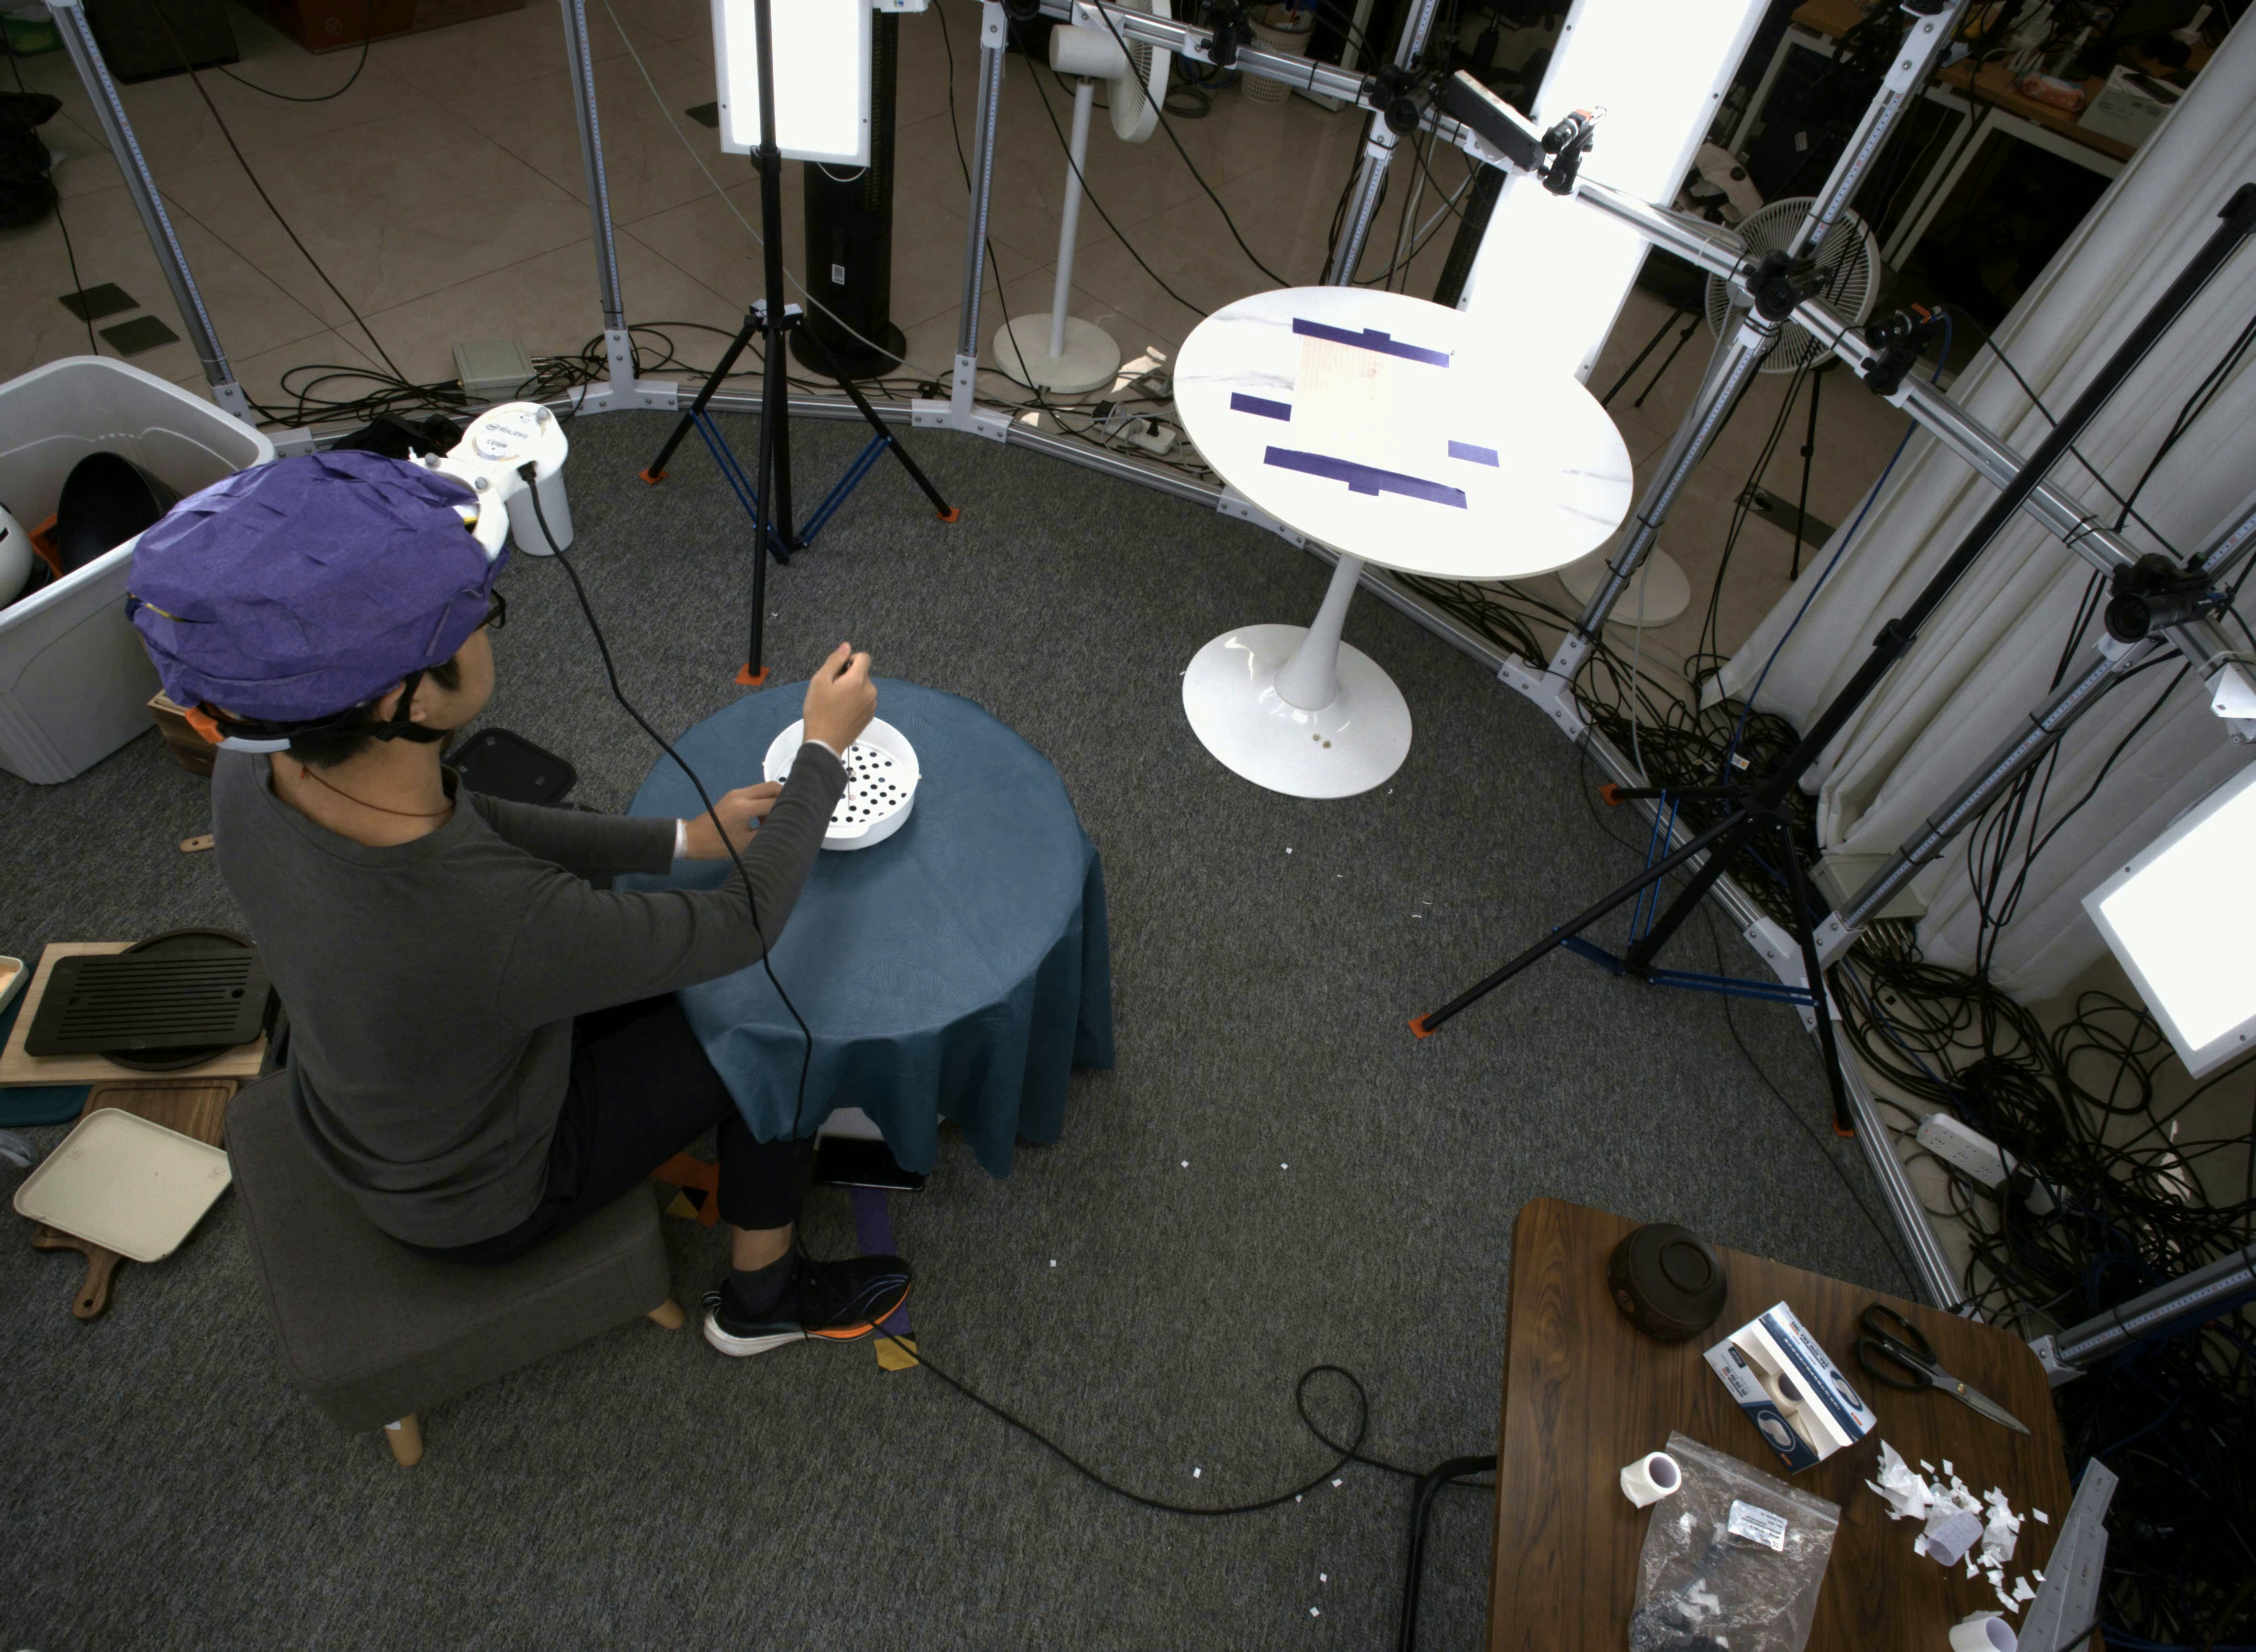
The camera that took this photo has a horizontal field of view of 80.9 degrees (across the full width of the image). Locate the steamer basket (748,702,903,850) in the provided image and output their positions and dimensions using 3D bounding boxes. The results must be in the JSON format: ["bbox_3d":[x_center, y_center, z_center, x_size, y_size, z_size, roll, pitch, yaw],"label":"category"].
[{"bbox_3d":[-0.404,-0.062,1.742,0.202,0.070,0.226,0,55,-13],"label":"steamer basket"}]

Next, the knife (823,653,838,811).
[{"bbox_3d":[-0.368,-0.109,1.604,0.016,0.244,0.024,3,42,-8],"label":"knife"}]
